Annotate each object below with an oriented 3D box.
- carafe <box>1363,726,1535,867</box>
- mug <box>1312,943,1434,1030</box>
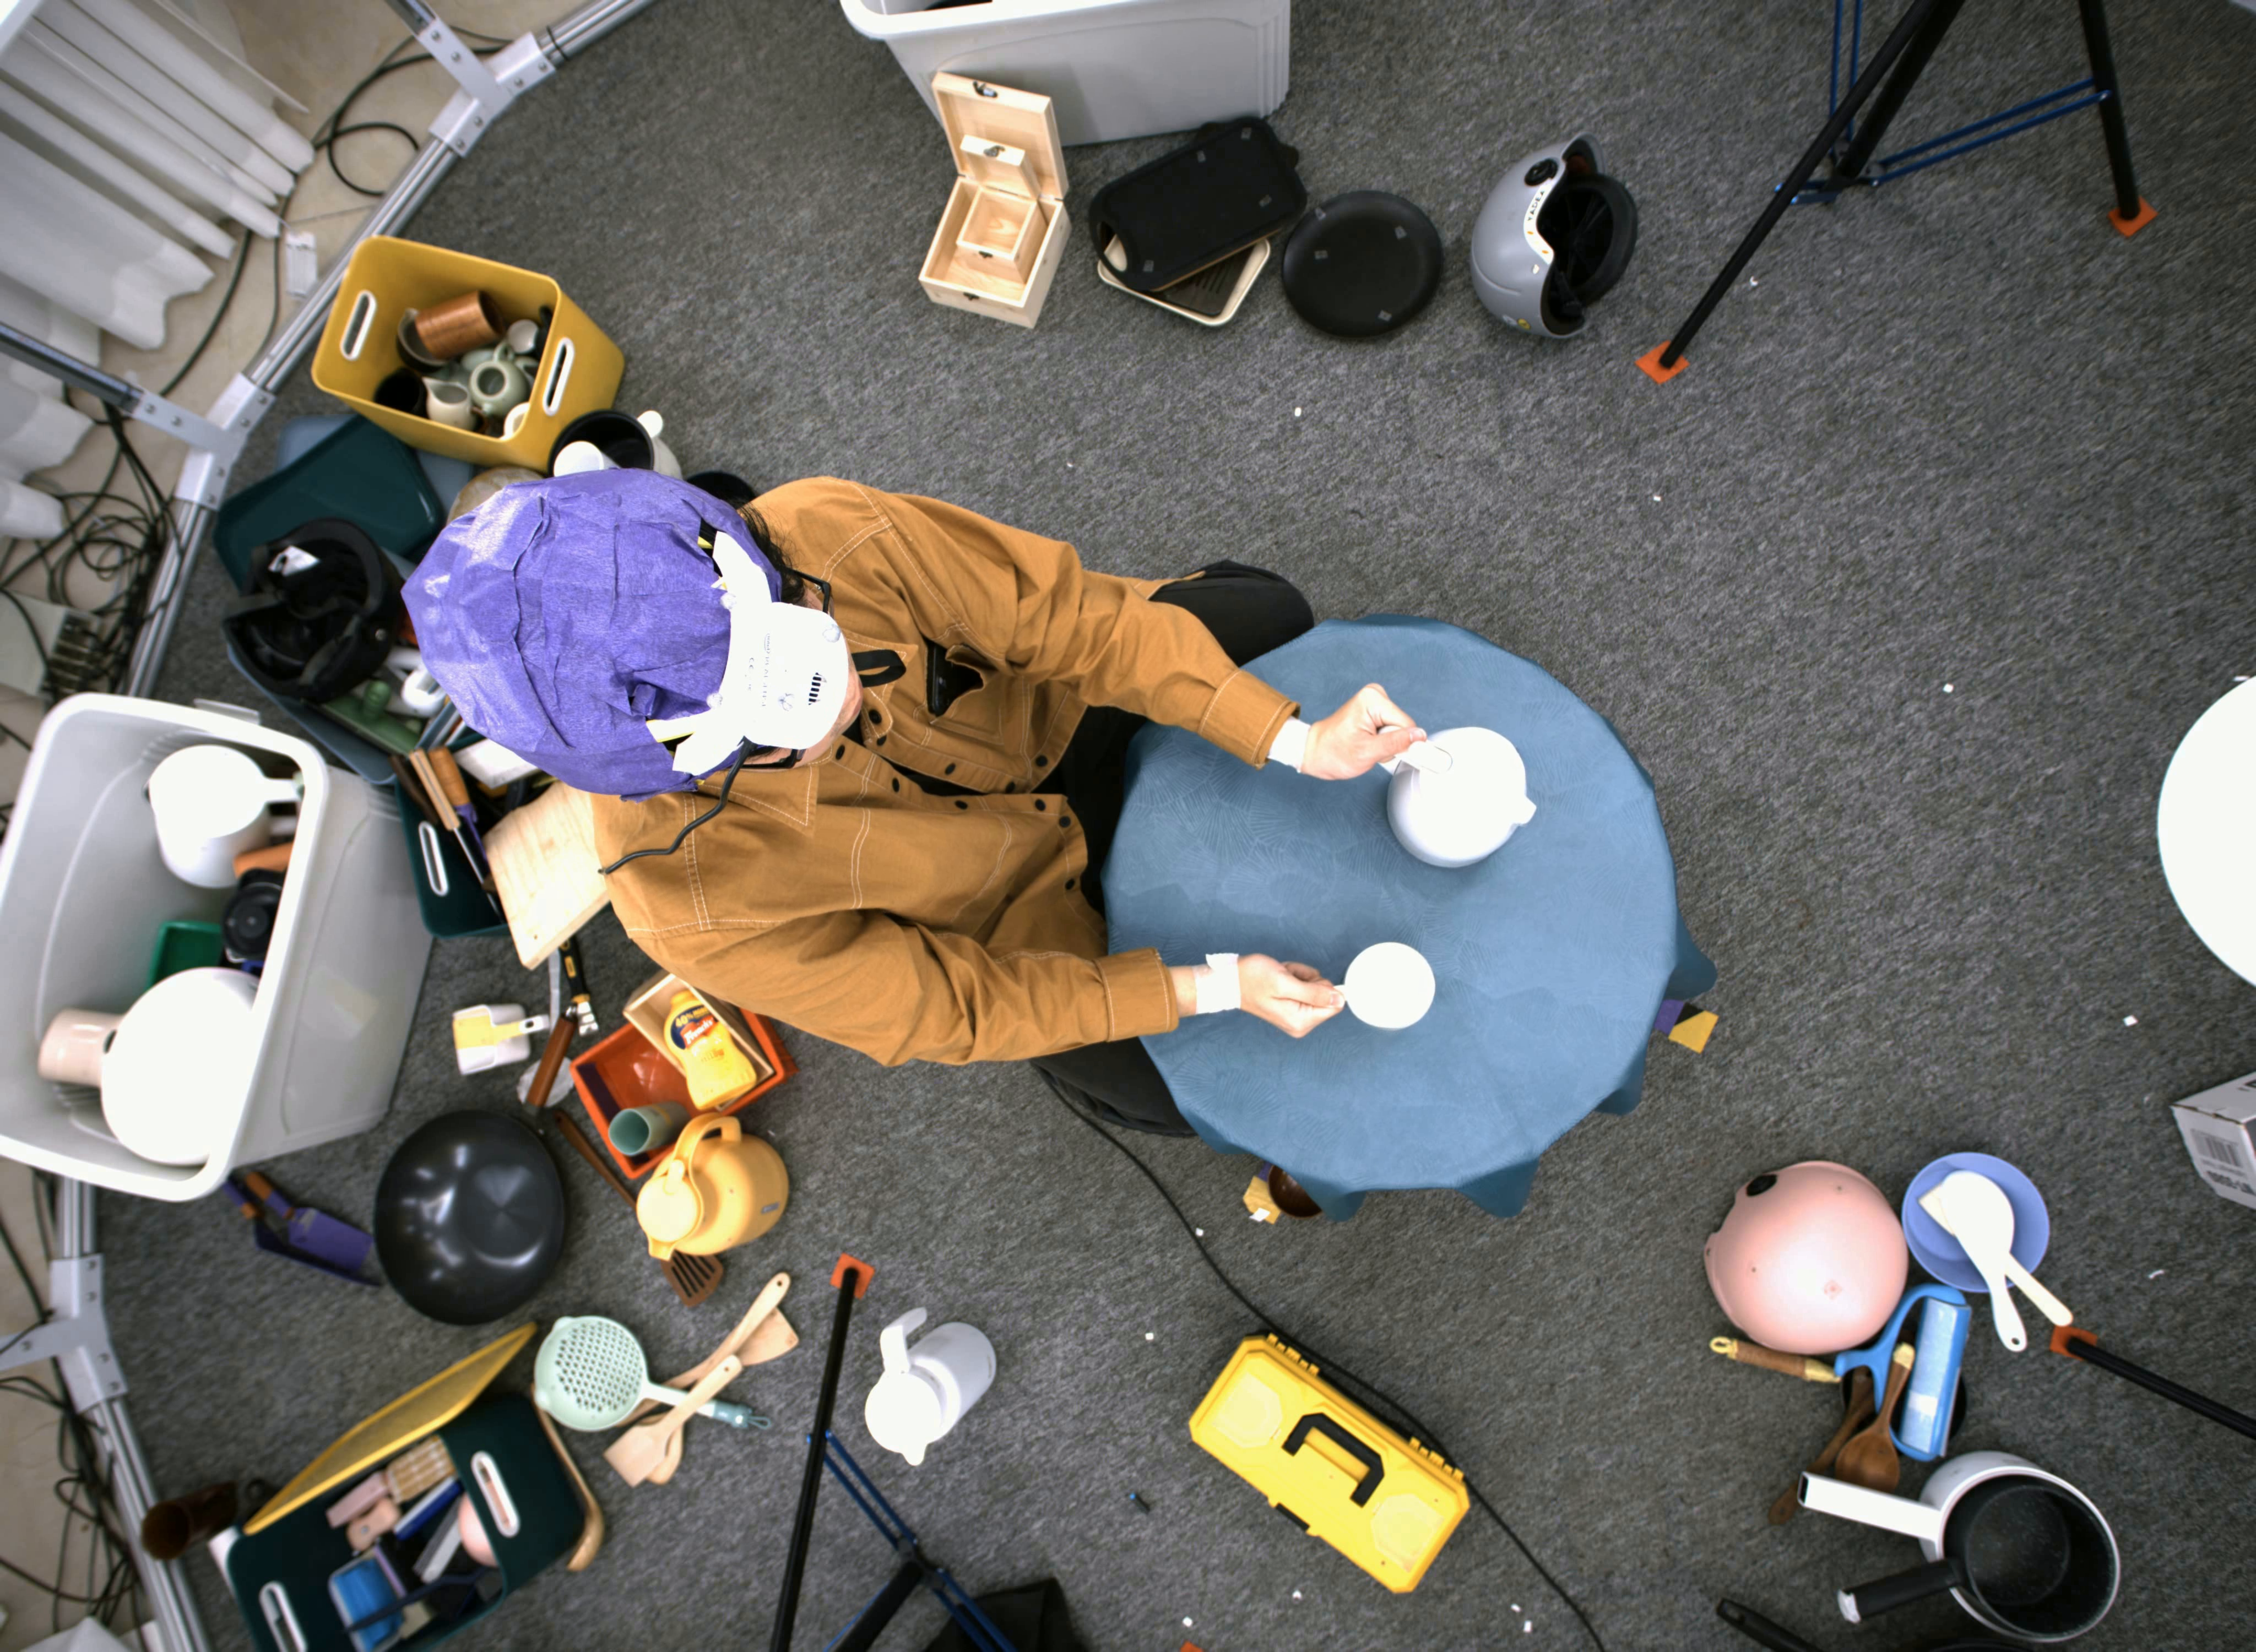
[{"bbox_3d":[0.303,-0.041,1.326,0.167,0.248,0.133,30,92,10],"label":"carafe"},{"bbox_3d":[0.246,0.165,1.405,0.119,0.102,0.084,-10,84,6],"label":"mug"}]
